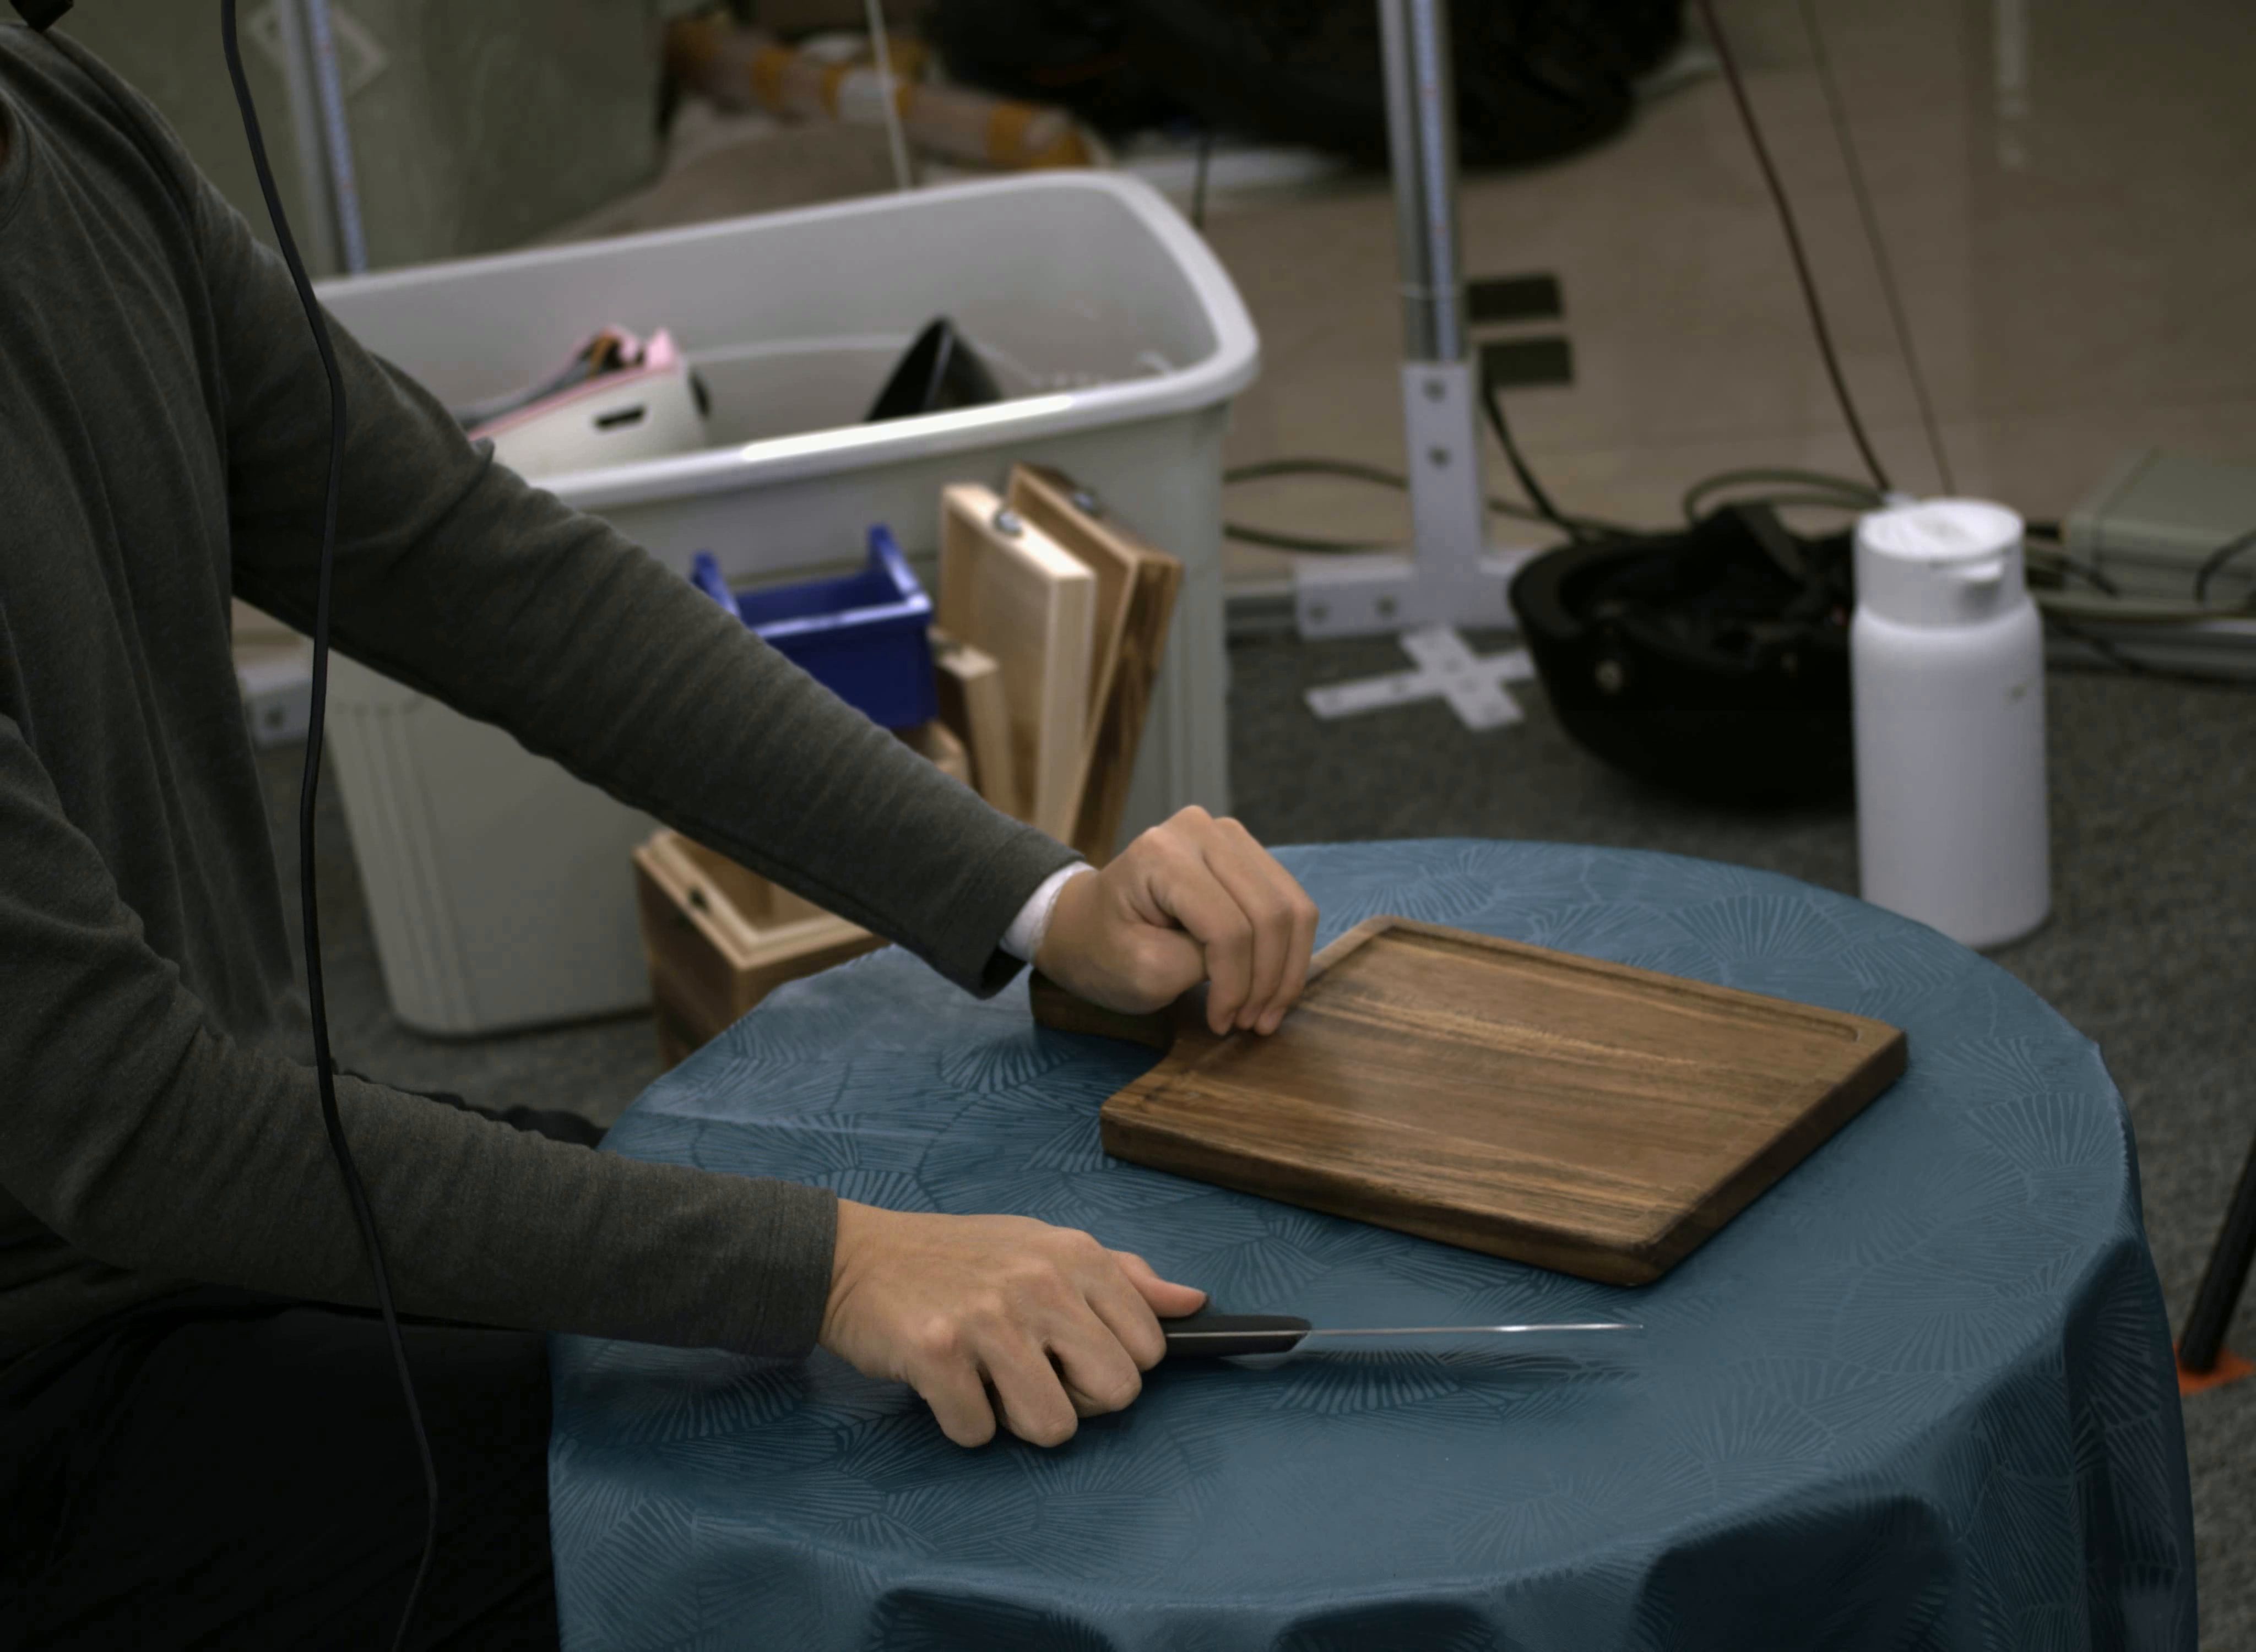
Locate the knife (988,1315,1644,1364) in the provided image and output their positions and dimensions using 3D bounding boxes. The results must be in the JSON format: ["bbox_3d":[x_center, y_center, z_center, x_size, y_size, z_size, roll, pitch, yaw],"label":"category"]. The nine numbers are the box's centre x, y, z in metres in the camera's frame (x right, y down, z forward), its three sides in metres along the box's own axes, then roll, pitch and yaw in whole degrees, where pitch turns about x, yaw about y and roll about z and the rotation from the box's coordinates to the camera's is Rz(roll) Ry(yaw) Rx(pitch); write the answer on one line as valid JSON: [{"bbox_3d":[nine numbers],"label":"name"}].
[{"bbox_3d":[0.065,0.181,2.017,0.238,0.016,0.024,-3,-5,12],"label":"knife"}]

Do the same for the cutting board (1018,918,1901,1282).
[{"bbox_3d":[0.102,0.093,2.202,0.350,0.023,0.199,12,30,35],"label":"cutting board"}]
